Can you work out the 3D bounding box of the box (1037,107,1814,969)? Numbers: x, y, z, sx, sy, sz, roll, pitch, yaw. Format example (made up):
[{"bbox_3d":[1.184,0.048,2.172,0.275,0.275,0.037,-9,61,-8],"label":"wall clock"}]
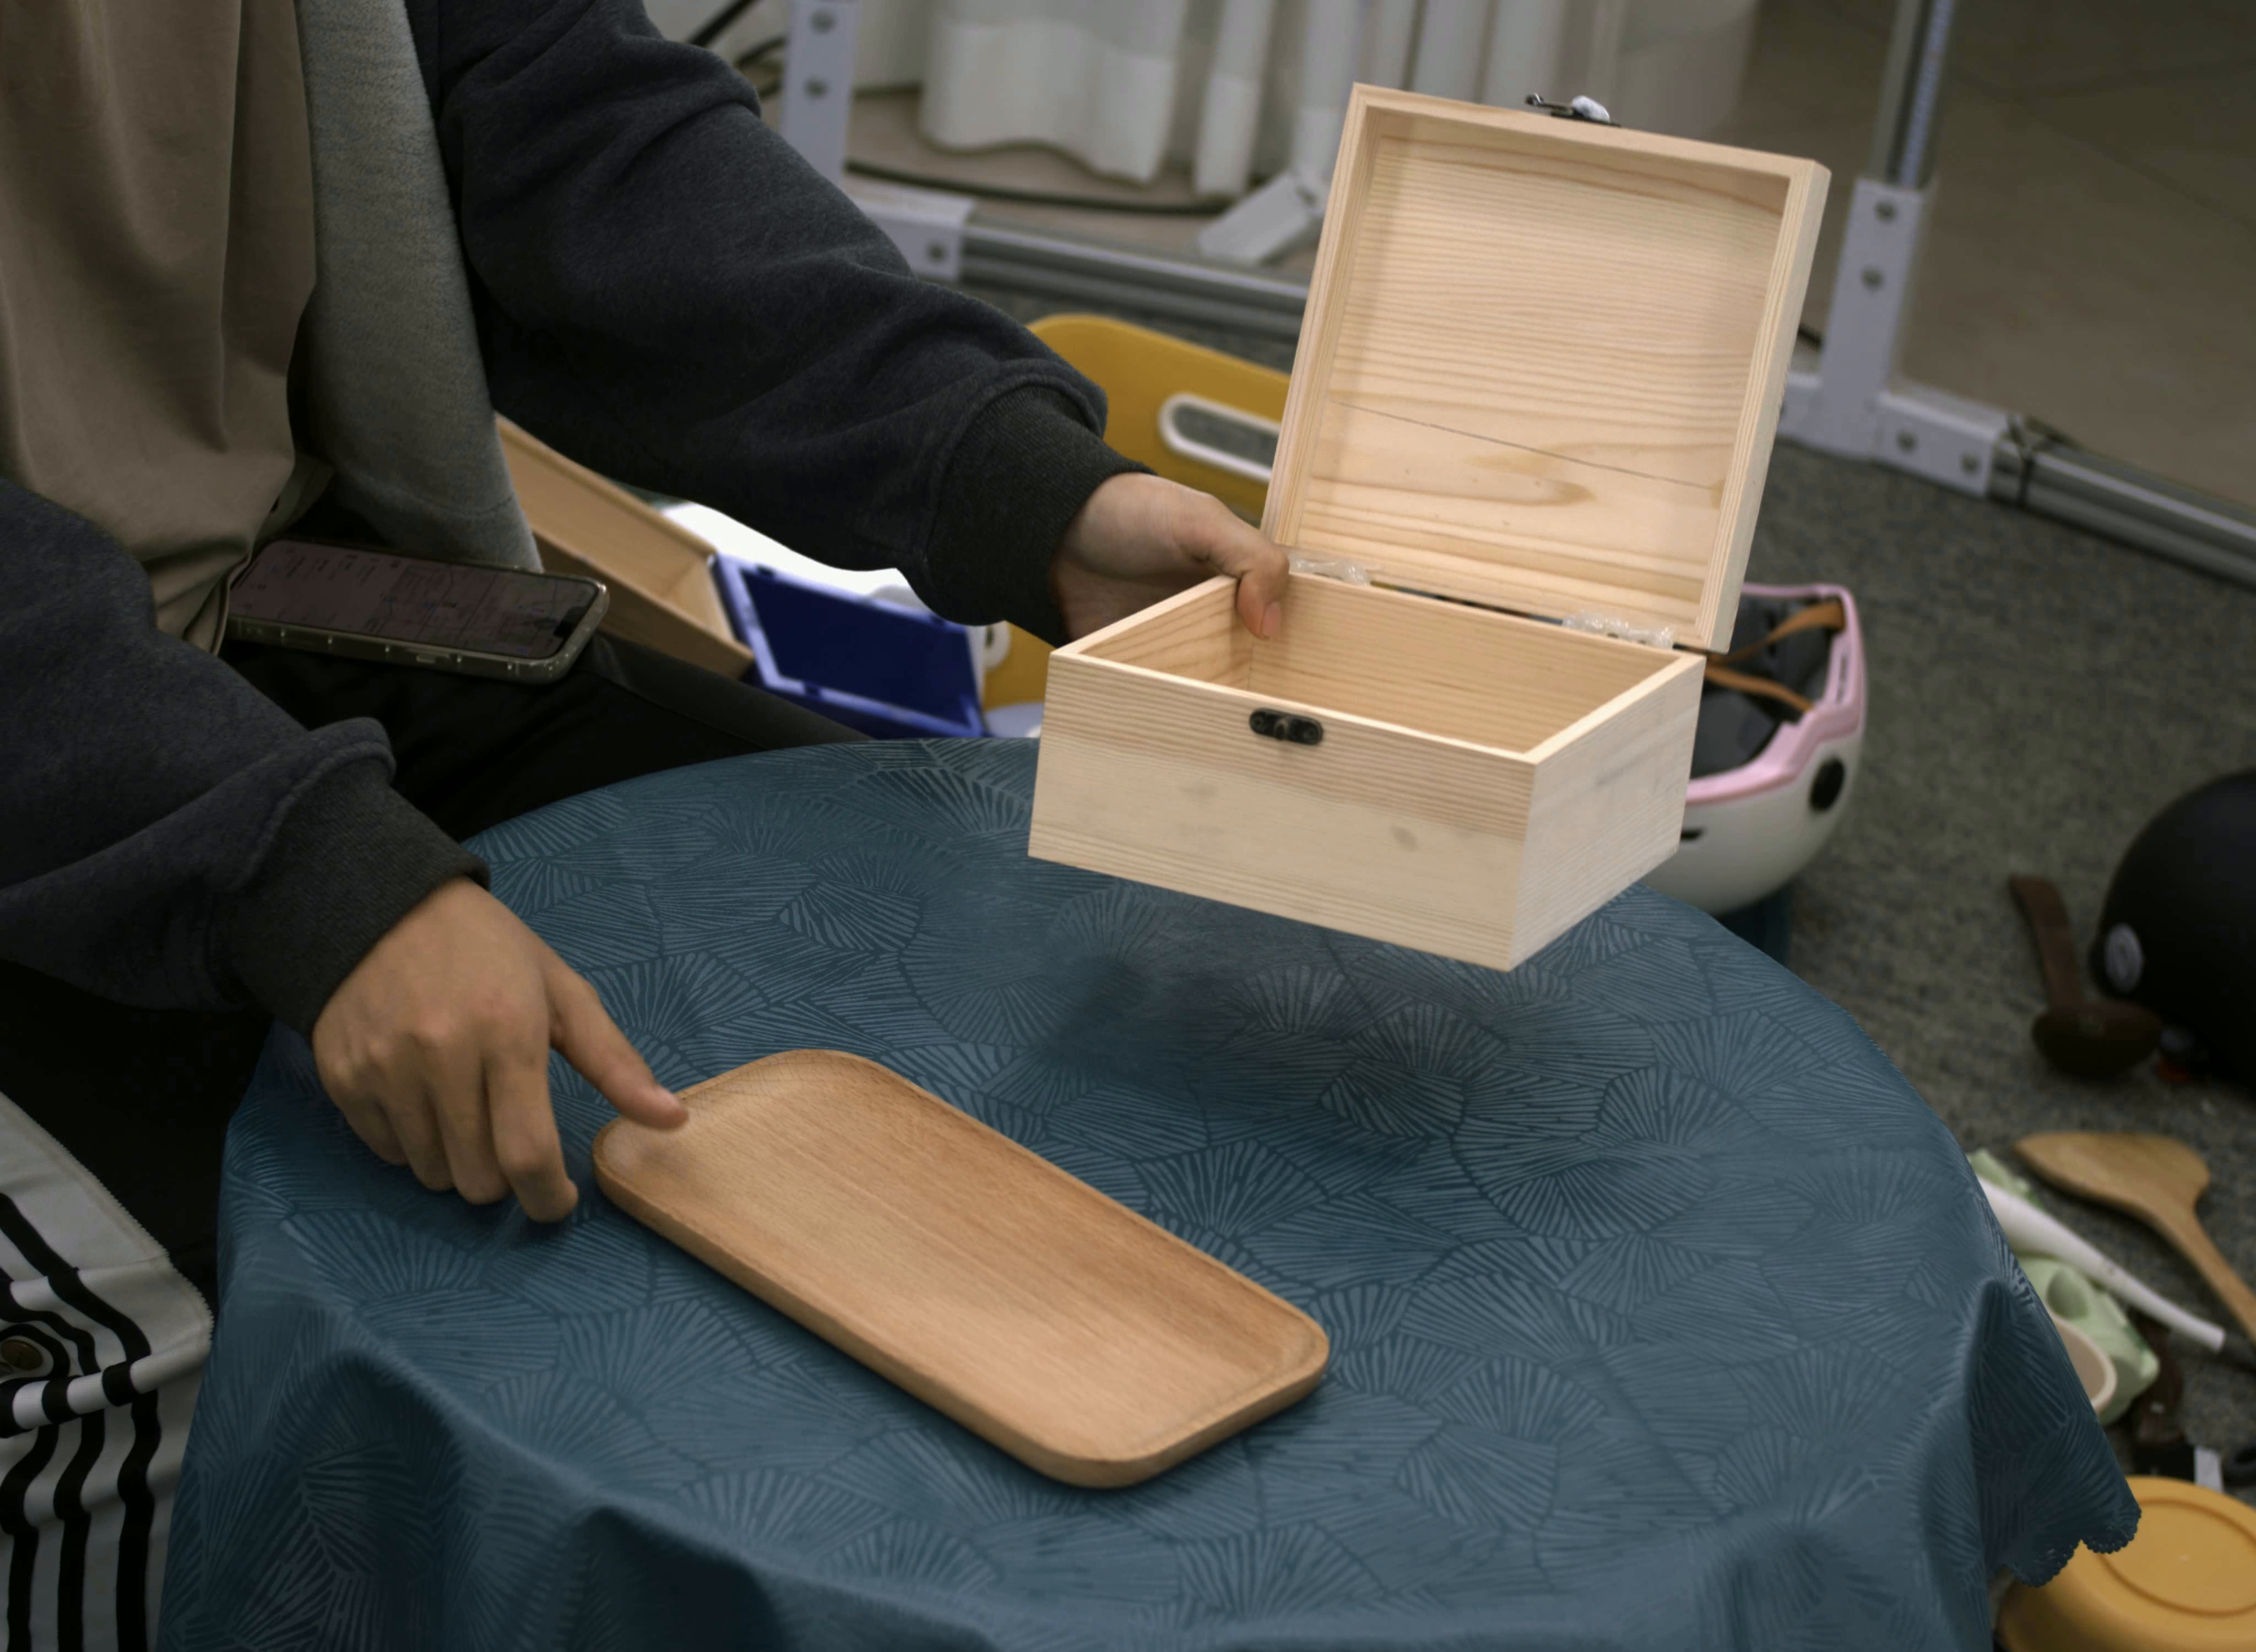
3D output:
[{"bbox_3d":[0.109,-0.113,1.896,0.182,0.253,0.264,10,15,22],"label":"box"}]

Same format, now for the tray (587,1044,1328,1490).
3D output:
[{"bbox_3d":[-0.058,0.141,1.734,0.252,0.023,0.130,28,31,36],"label":"tray"}]
